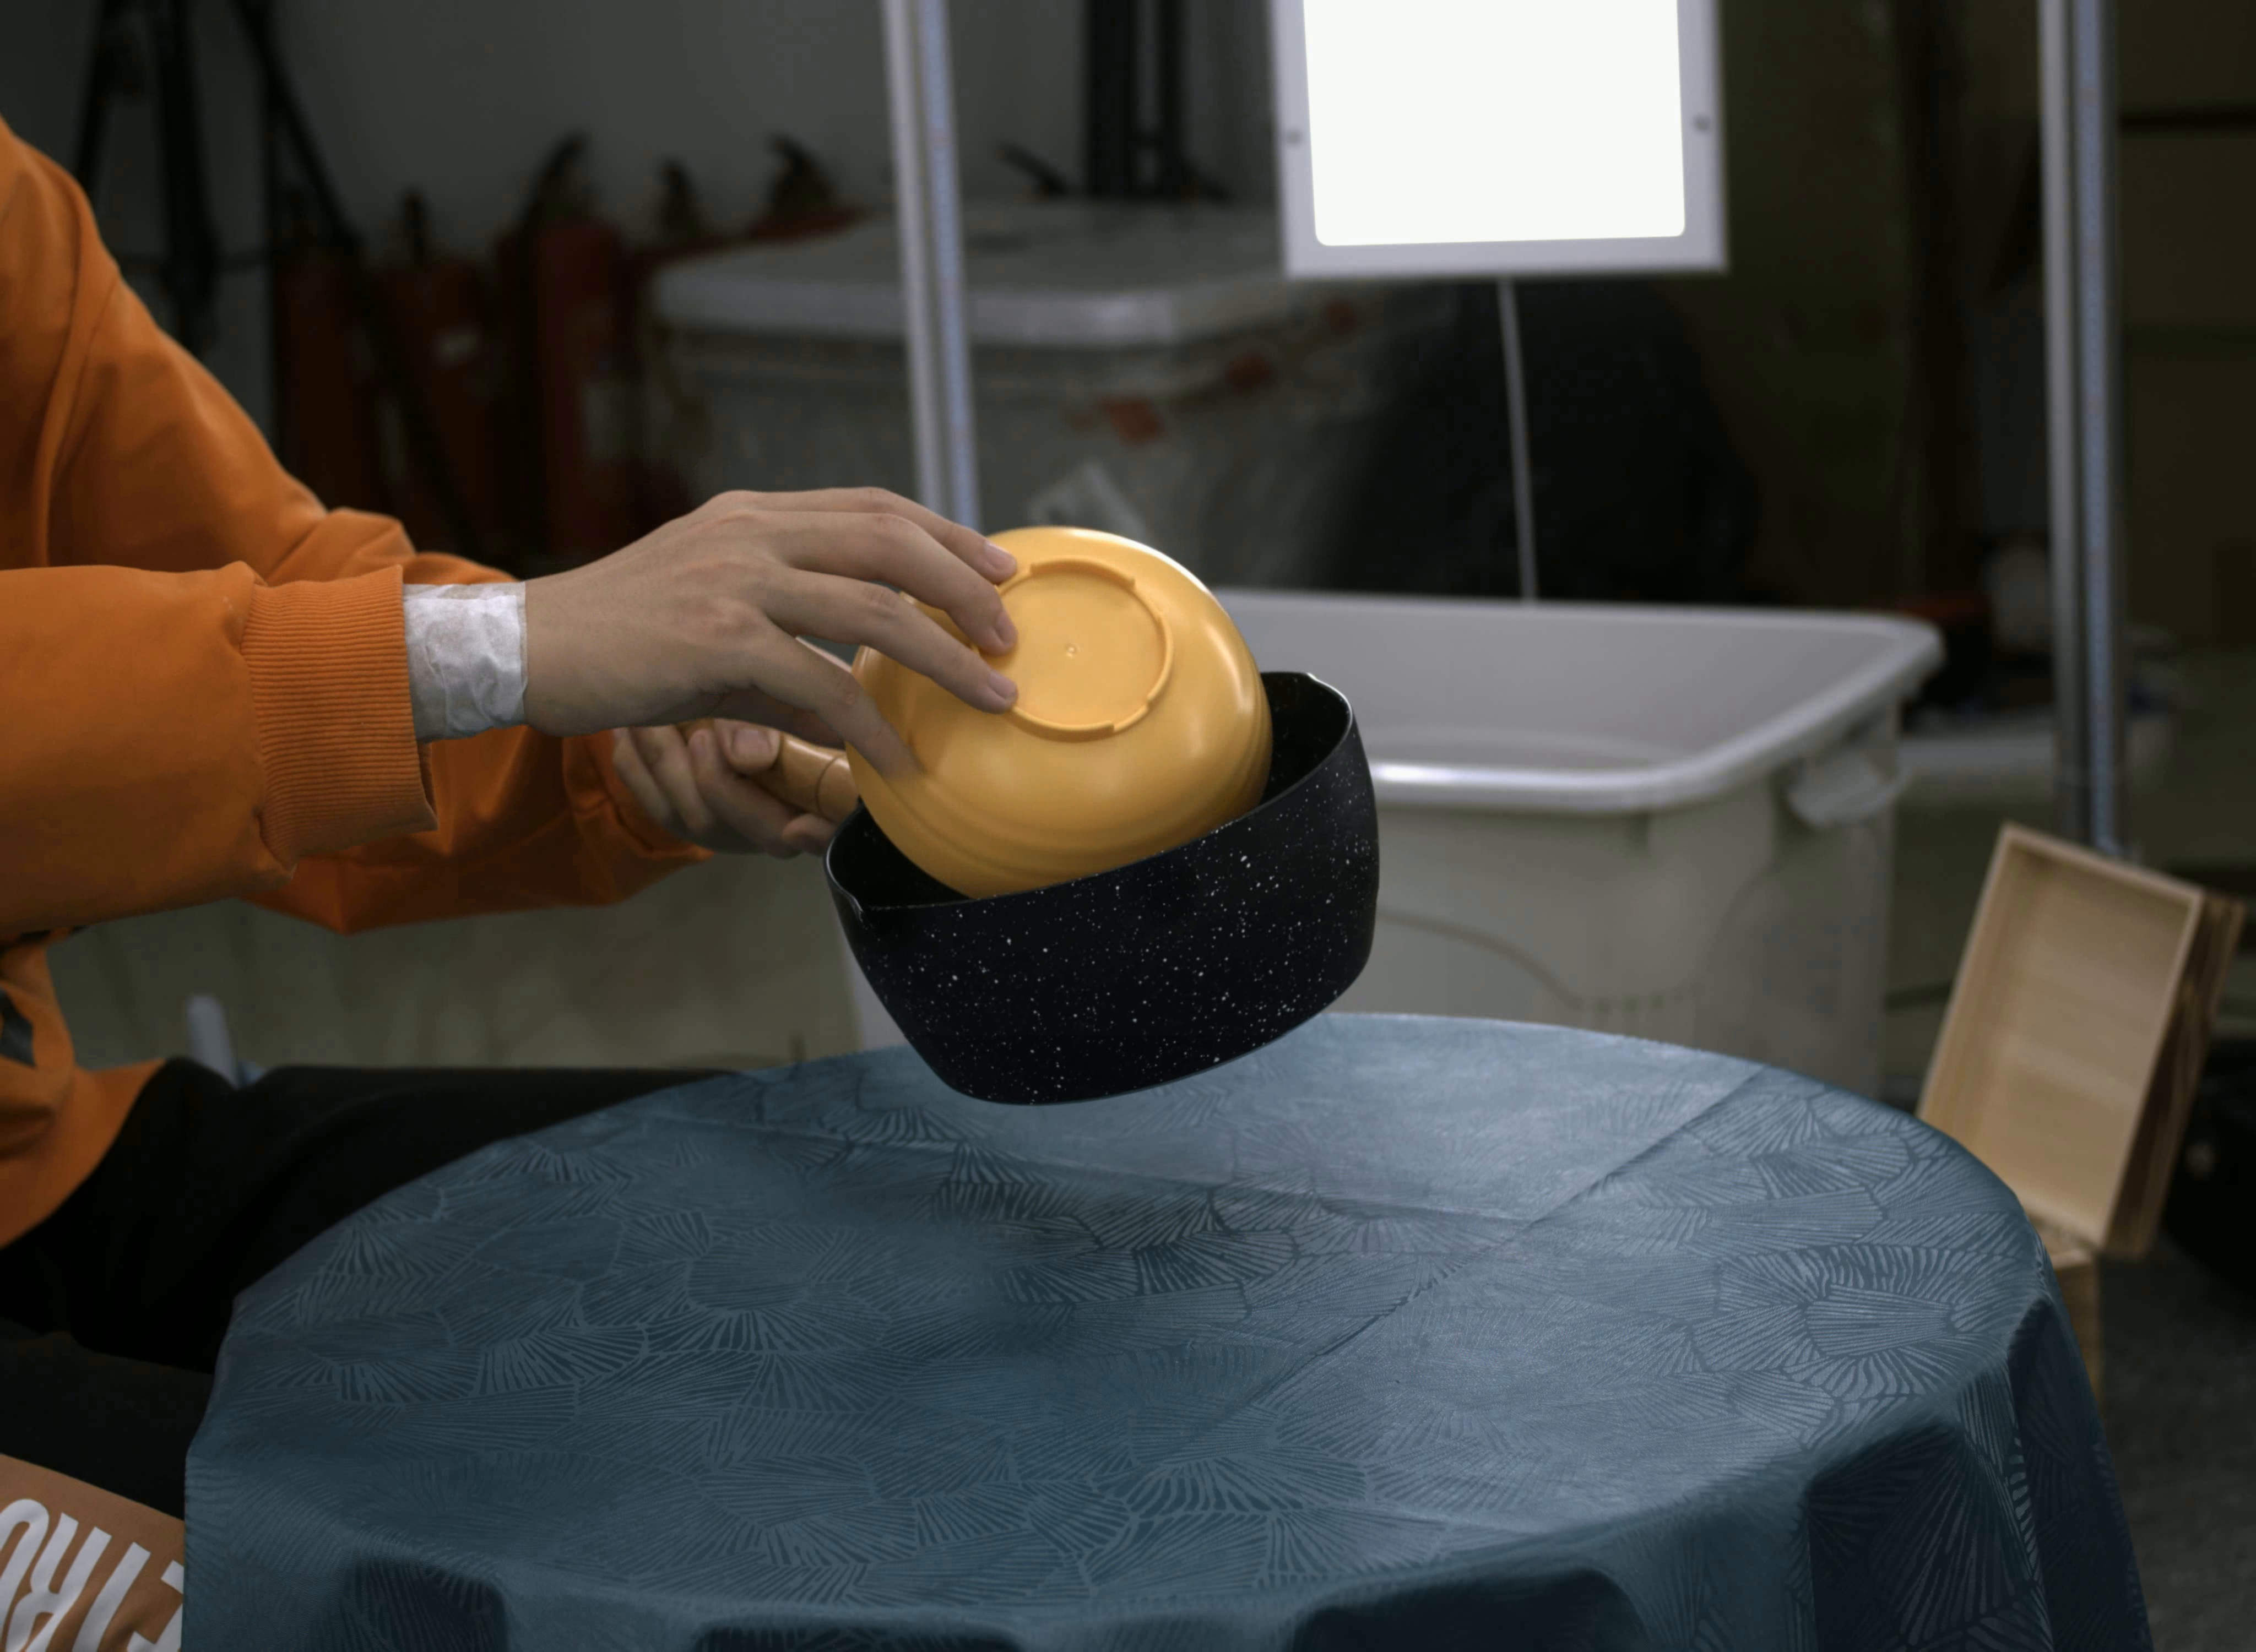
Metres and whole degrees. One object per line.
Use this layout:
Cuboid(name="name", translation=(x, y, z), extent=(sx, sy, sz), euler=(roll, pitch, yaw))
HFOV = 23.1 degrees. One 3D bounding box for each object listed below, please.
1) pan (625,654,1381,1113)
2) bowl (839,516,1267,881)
Cuboid(name="pan", translation=(-0.057, 0.009, 1.892), extent=(0.203, 0.108, 0.350), euler=(-32, 24, -34))
Cuboid(name="bowl", translation=(-0.023, -0.049, 1.813), extent=(0.144, 0.145, 0.060), euler=(-7, -28, -7))
